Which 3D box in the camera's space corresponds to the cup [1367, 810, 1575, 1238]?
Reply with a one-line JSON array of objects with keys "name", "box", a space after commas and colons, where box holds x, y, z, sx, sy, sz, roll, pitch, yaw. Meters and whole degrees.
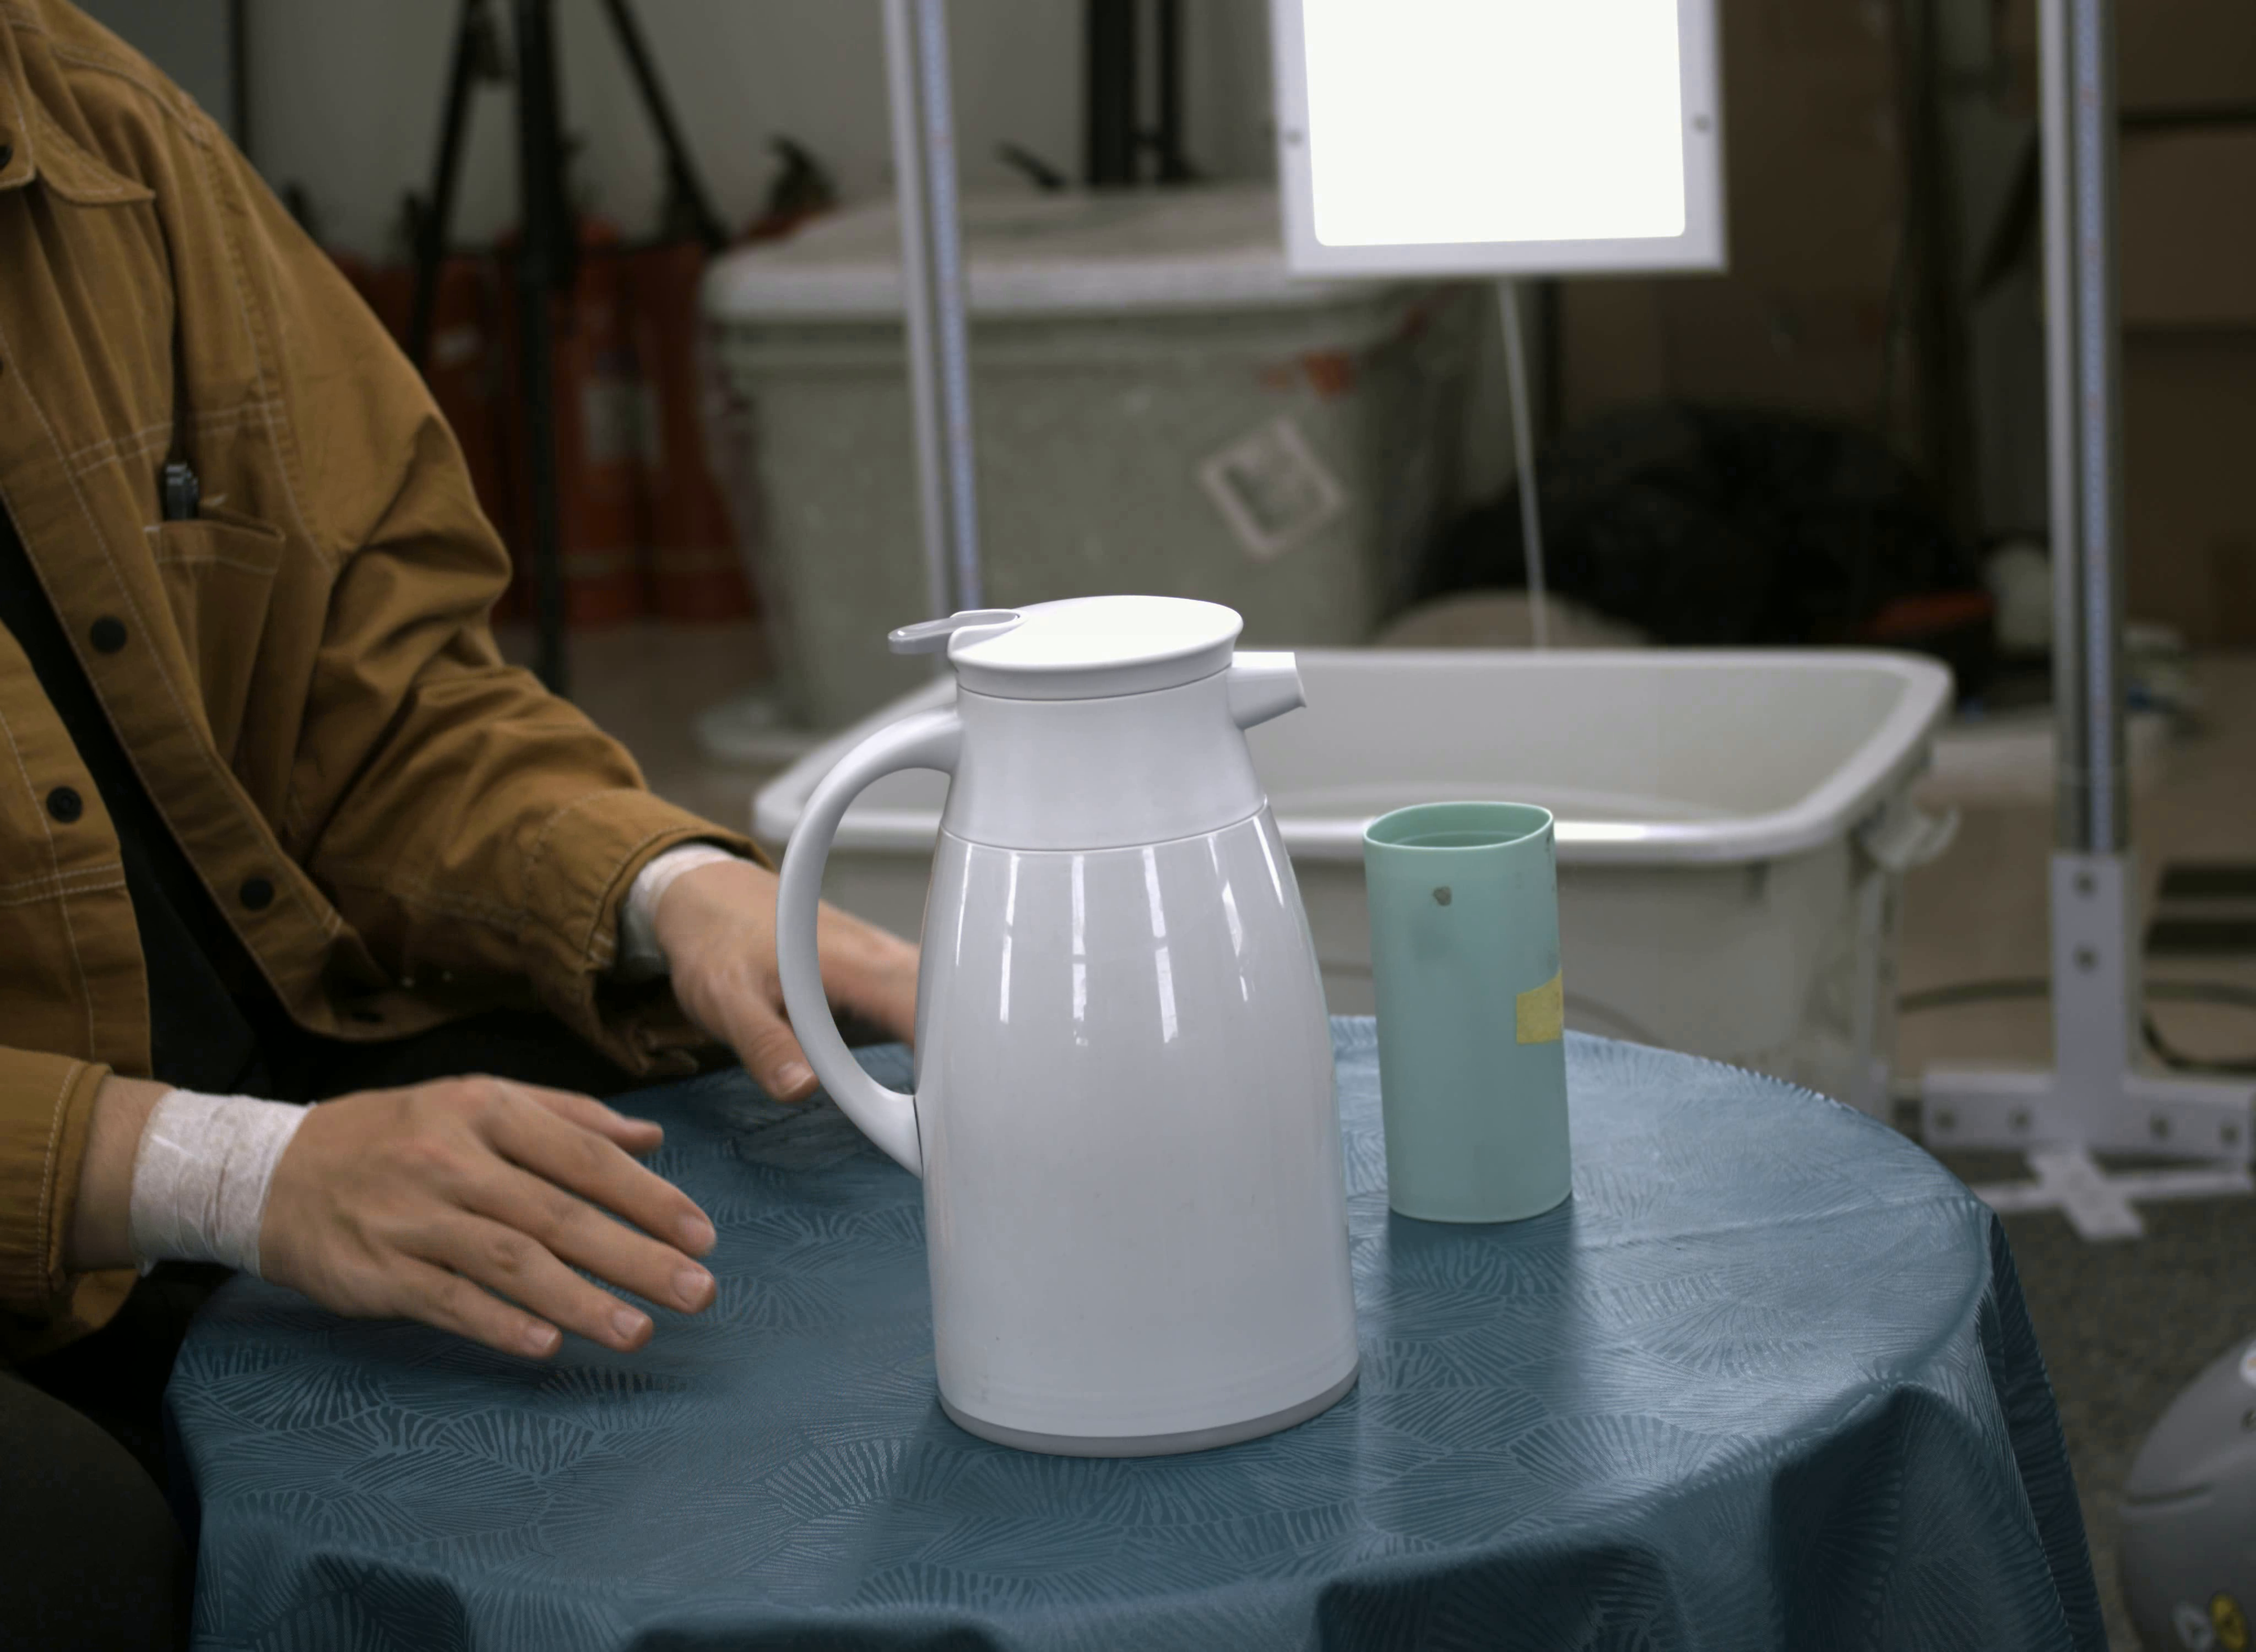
[{"name": "cup", "box": [0.115, 0.065, 1.845, 0.066, 0.133, 0.066, -4, 14, 0]}]

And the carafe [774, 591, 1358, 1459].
[{"name": "carafe", "box": [-0.022, 0.056, 1.677, 0.167, 0.249, 0.132, -5, 14, 1]}]
